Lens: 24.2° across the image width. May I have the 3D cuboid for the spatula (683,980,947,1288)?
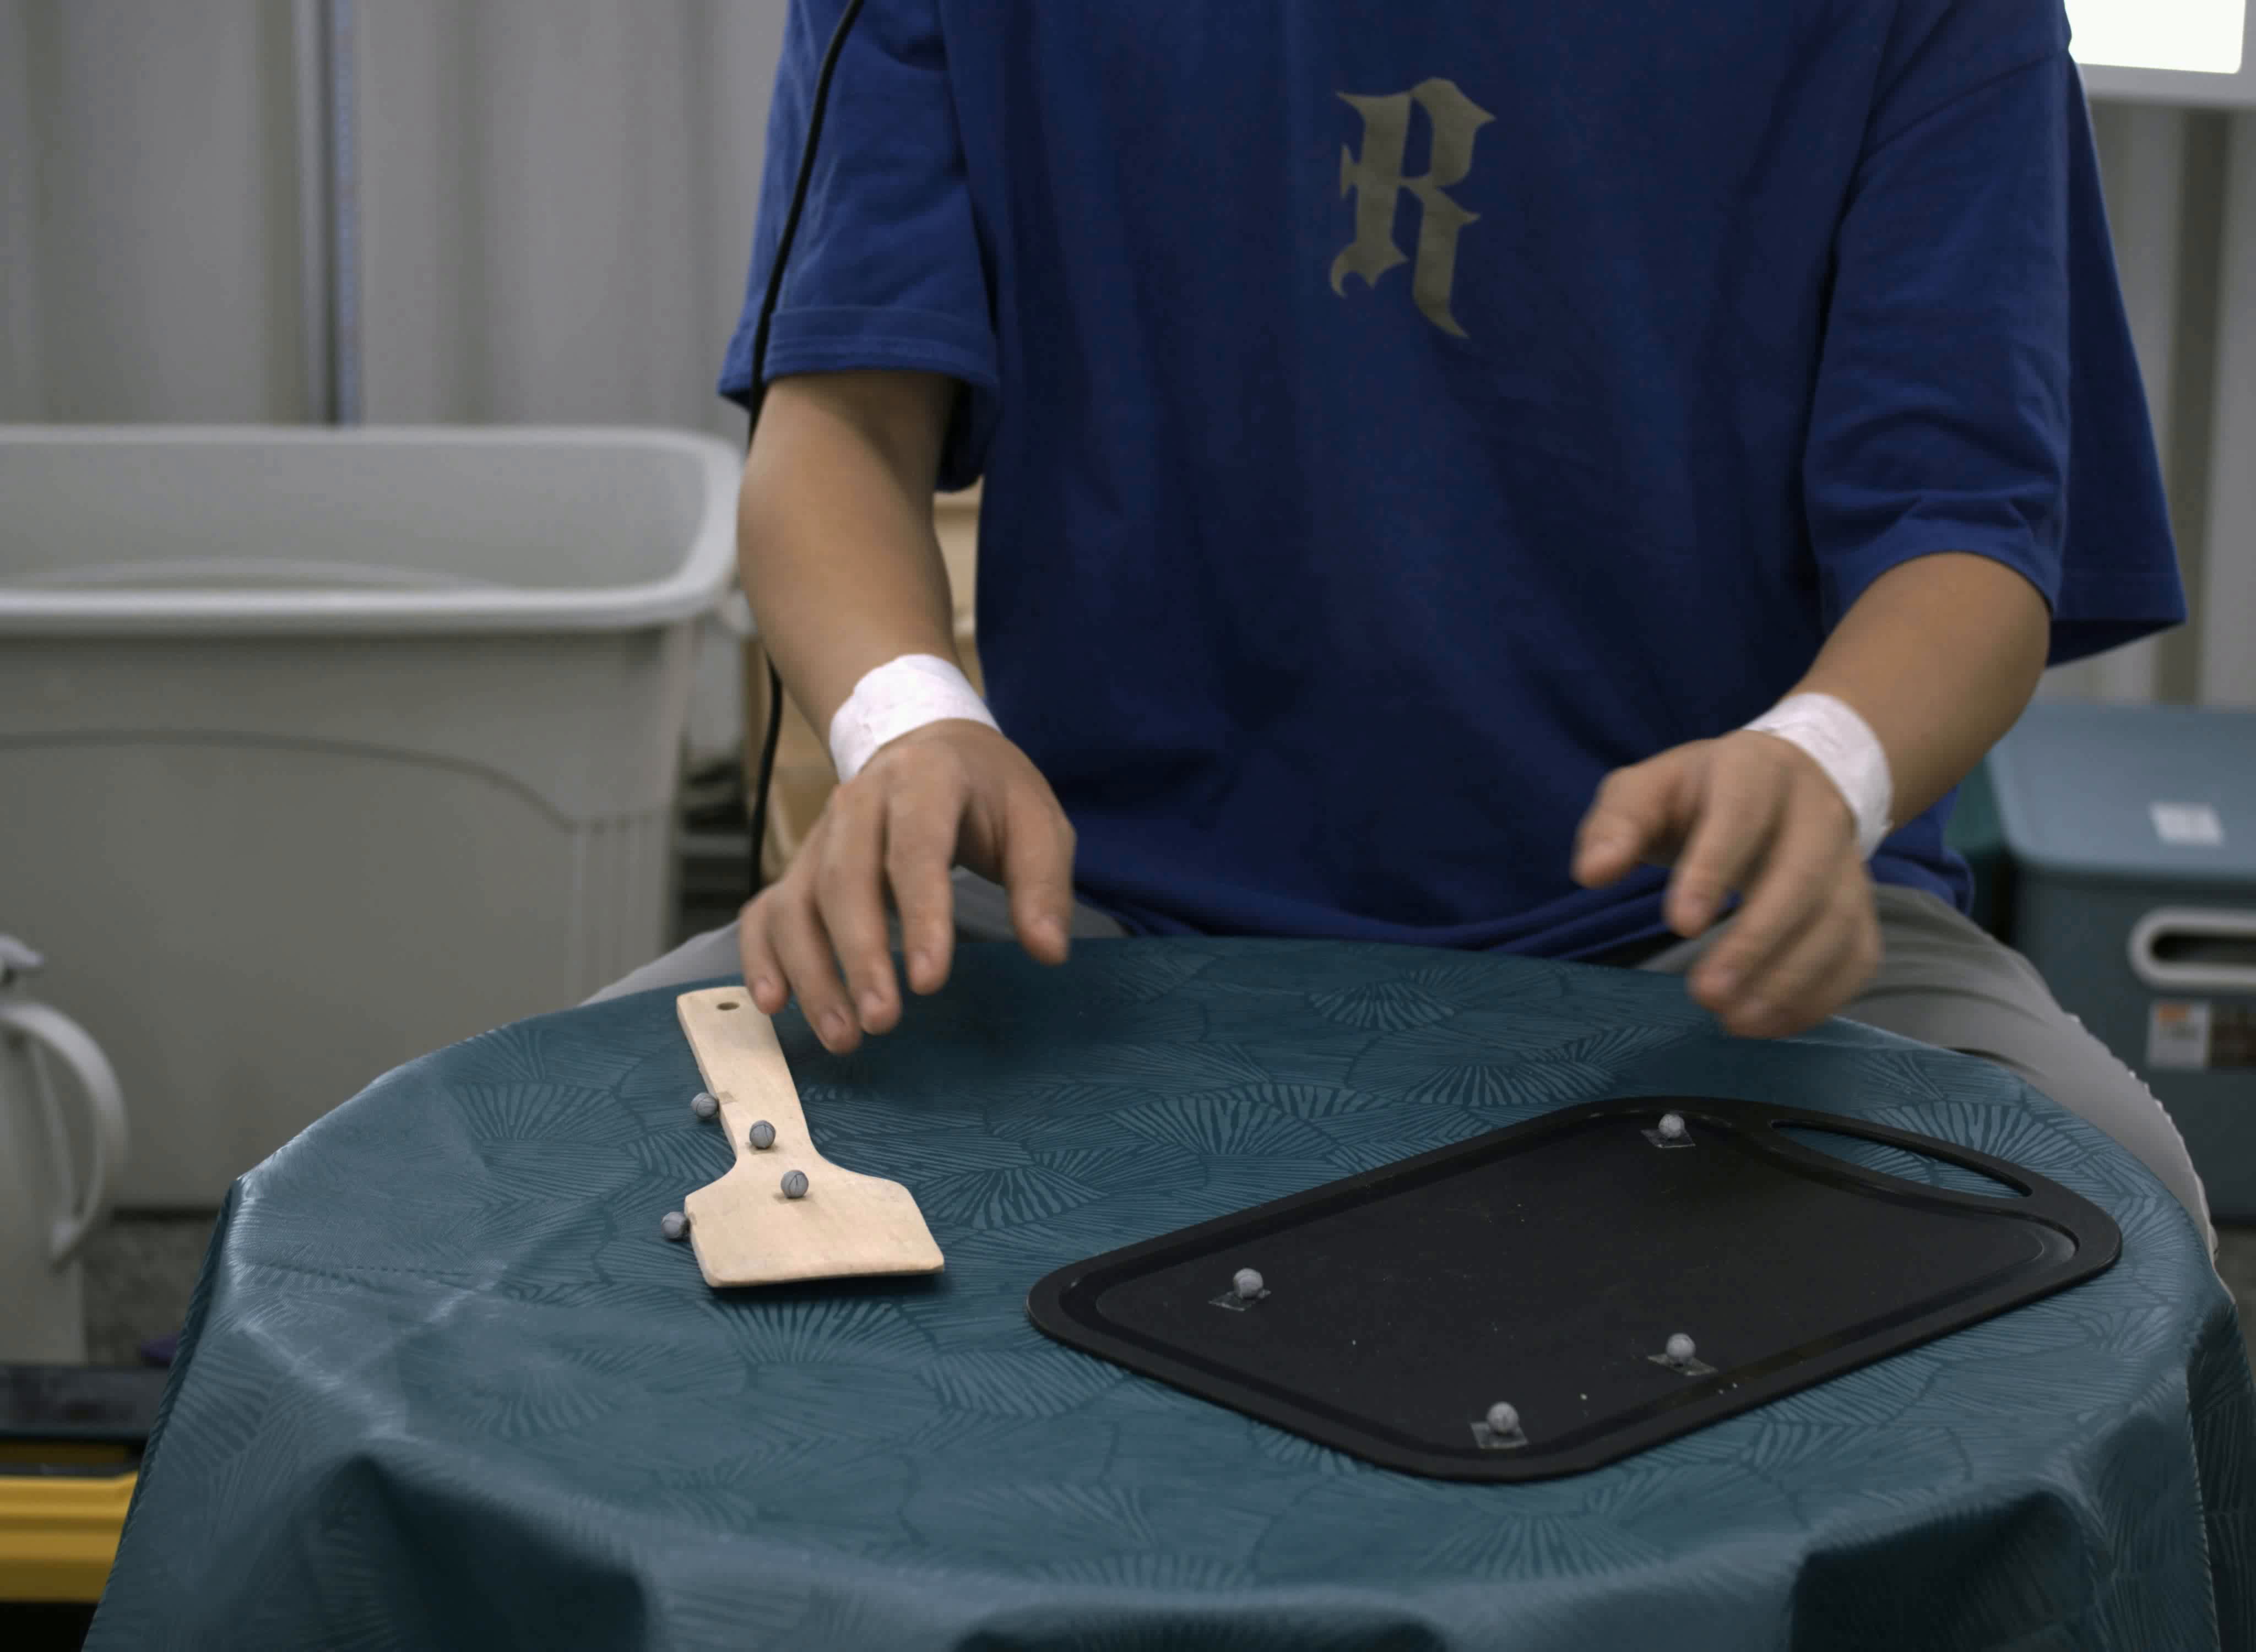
[{"bbox_3d":[-0.114,0.095,1.665,0.072,0.011,0.290,-4,16,-10],"label":"spatula"}]

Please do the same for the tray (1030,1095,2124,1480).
[{"bbox_3d":[0.141,0.128,1.560,0.327,0.010,0.208,-13,21,-41],"label":"tray"}]
